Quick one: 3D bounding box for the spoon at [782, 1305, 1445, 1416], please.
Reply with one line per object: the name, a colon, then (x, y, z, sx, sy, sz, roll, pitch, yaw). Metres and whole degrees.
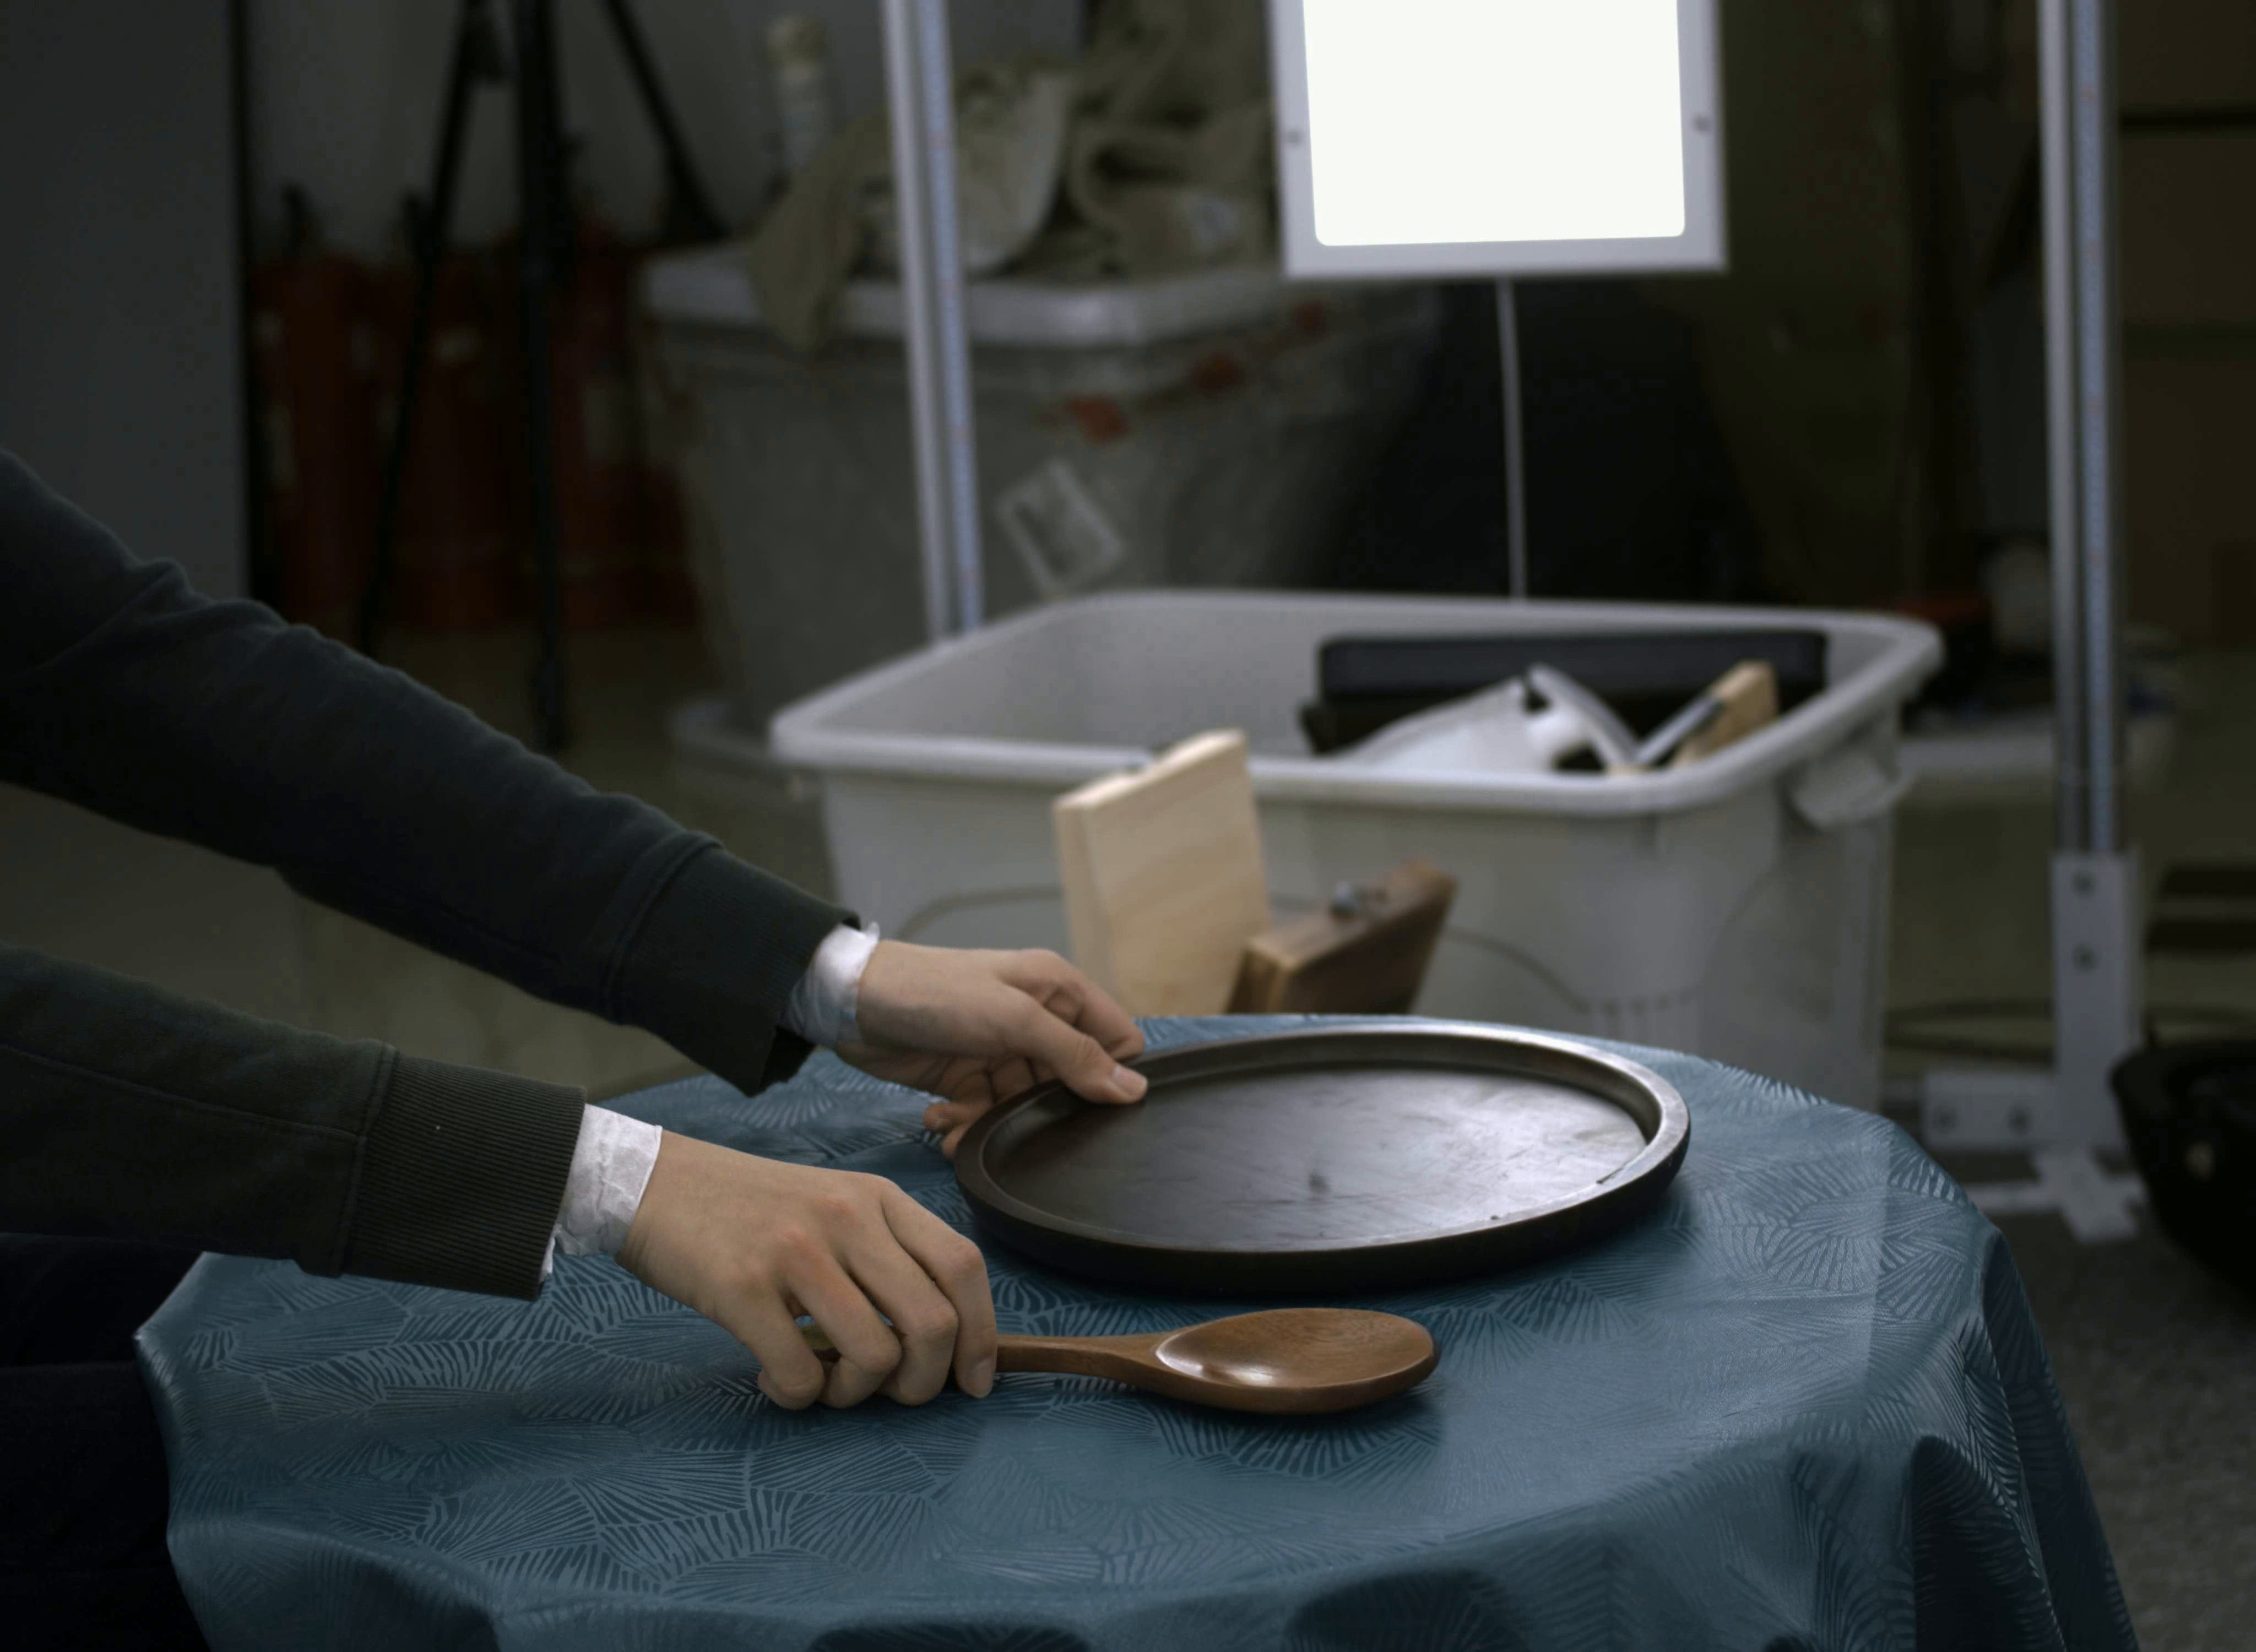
spoon: (-0.006, 0.165, 1.707, 0.219, 0.017, 0.074, 1, 16, 21)

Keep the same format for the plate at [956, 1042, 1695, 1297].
plate: (0.067, 0.114, 1.876, 0.254, 0.029, 0.254, -4, 13, -1)
